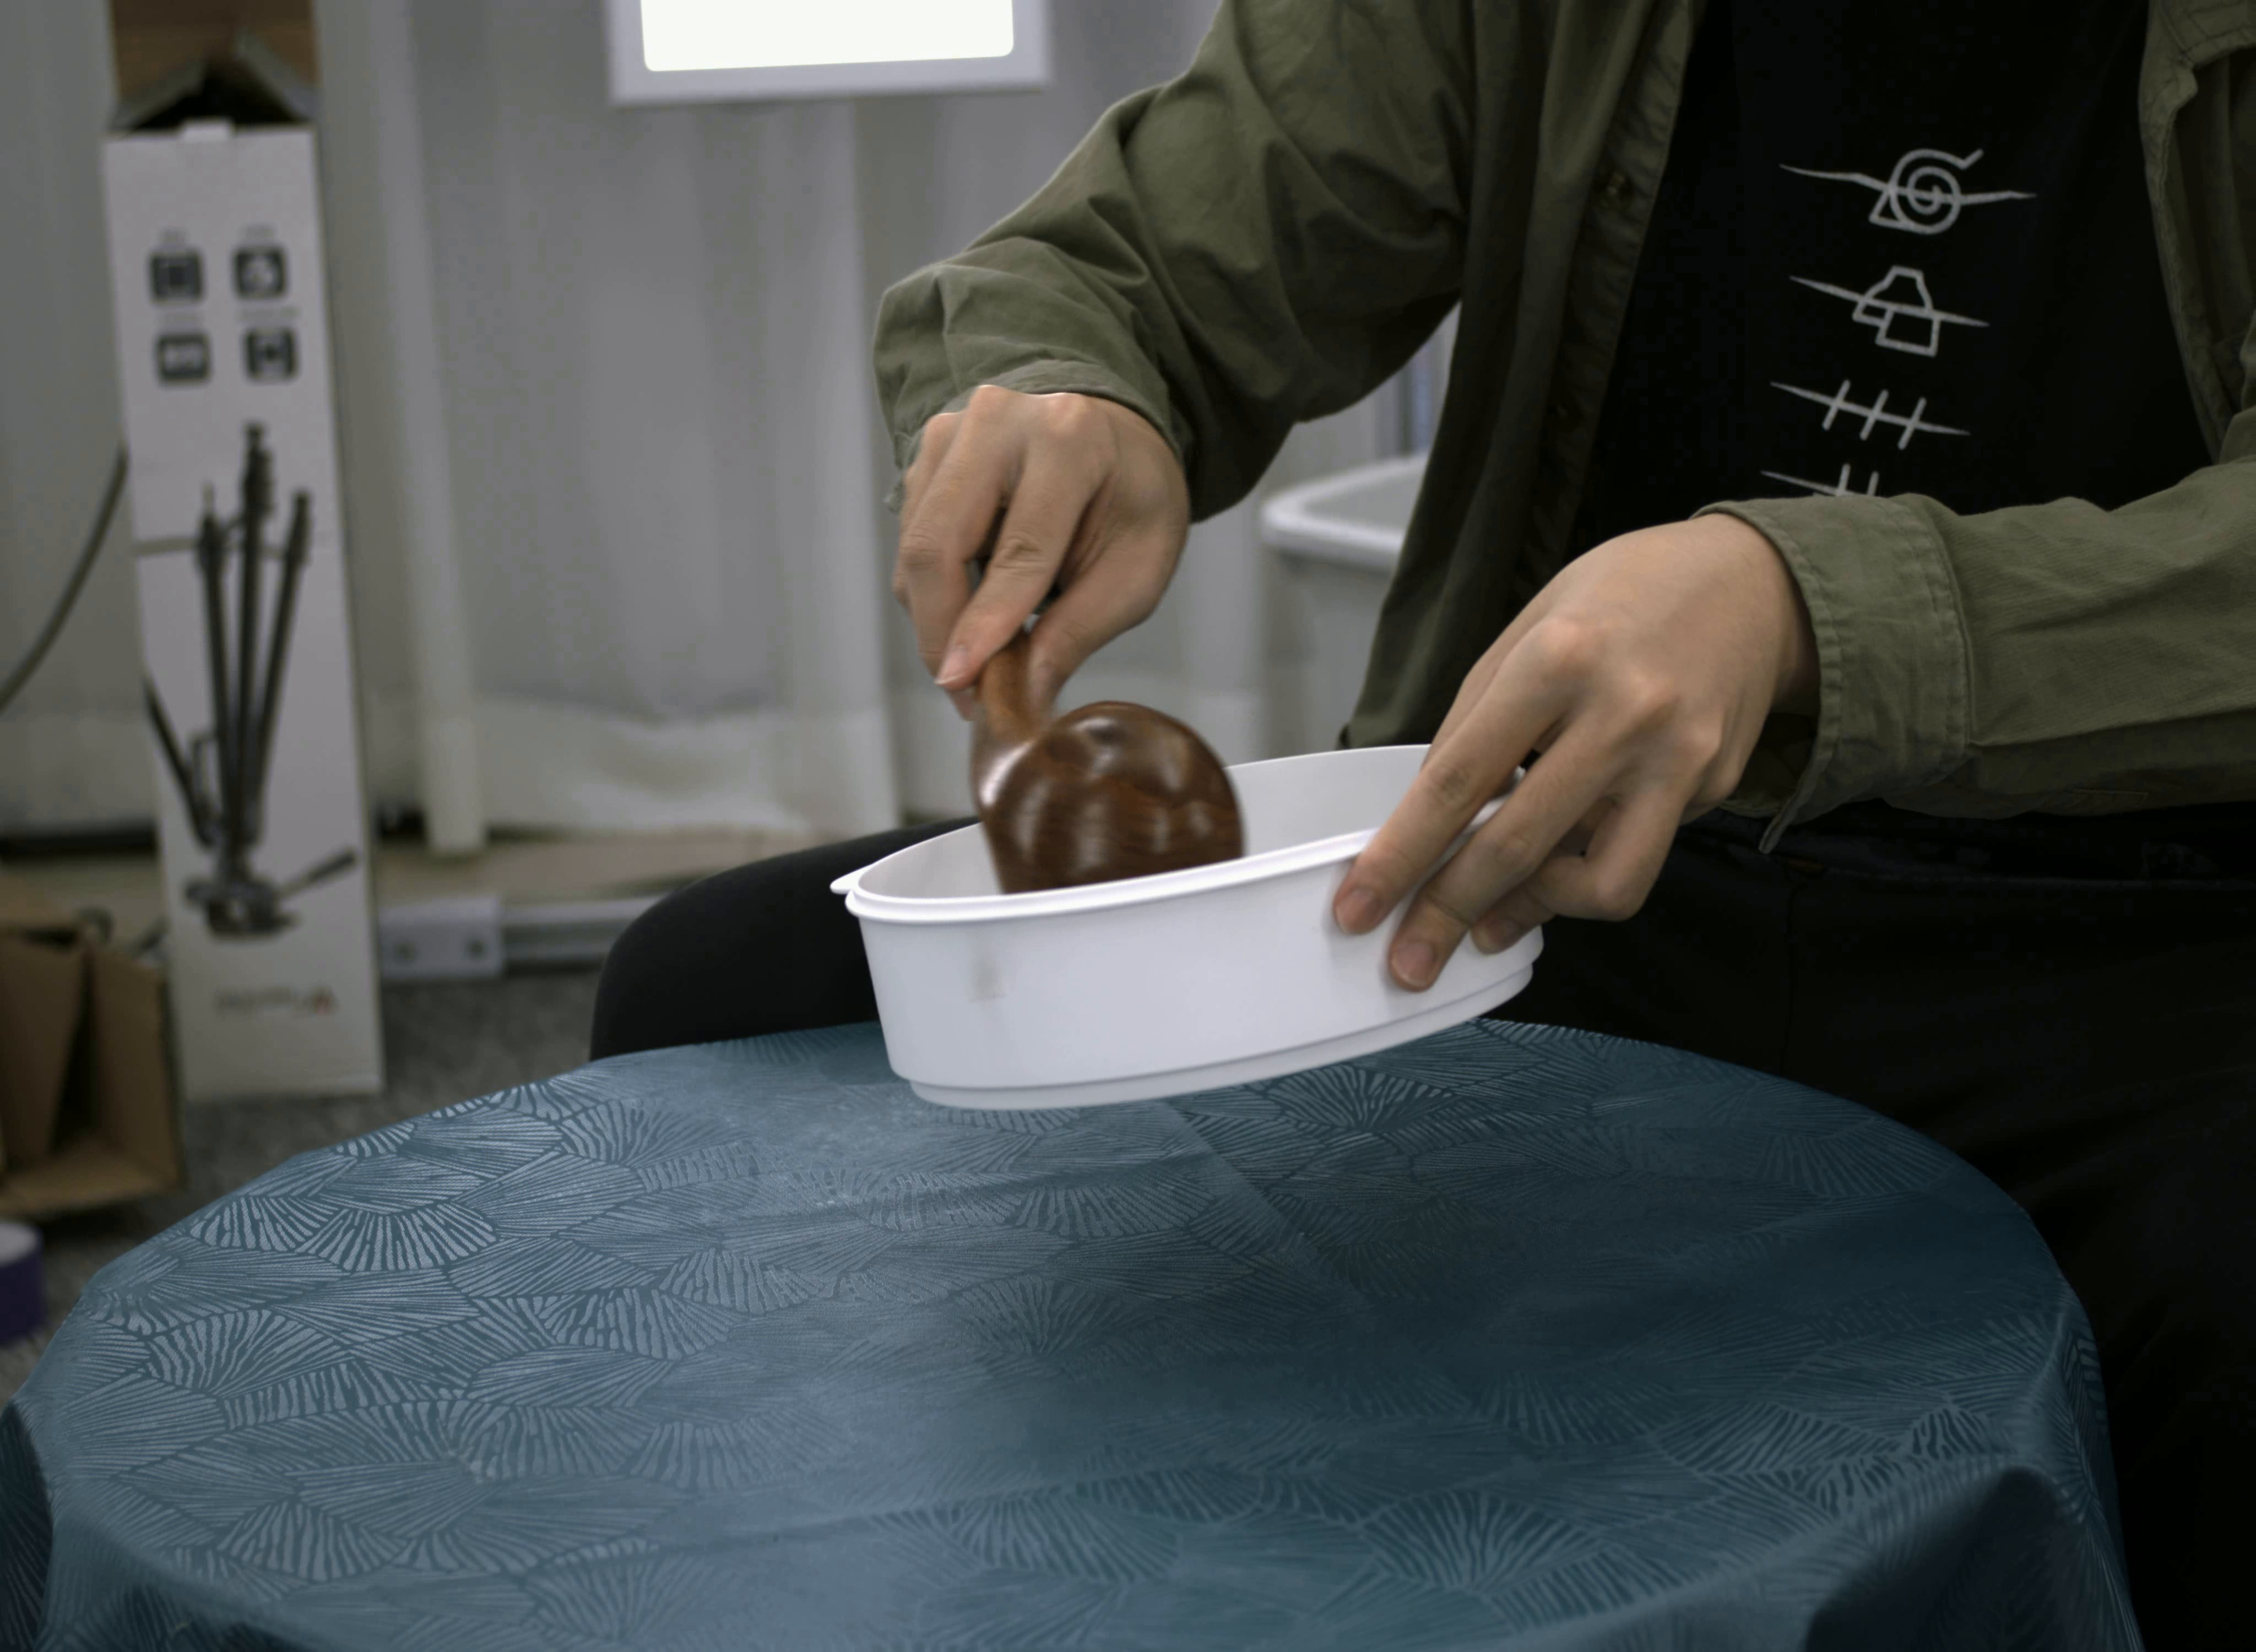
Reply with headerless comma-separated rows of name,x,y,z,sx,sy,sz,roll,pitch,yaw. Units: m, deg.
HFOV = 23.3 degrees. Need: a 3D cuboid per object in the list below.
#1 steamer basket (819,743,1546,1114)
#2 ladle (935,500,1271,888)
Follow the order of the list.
steamer basket,0.018,0.031,1.595,0.231,0.069,0.202,-5,10,33
ladle,-0.010,-0.036,1.654,0.076,0.081,0.277,26,17,-15
